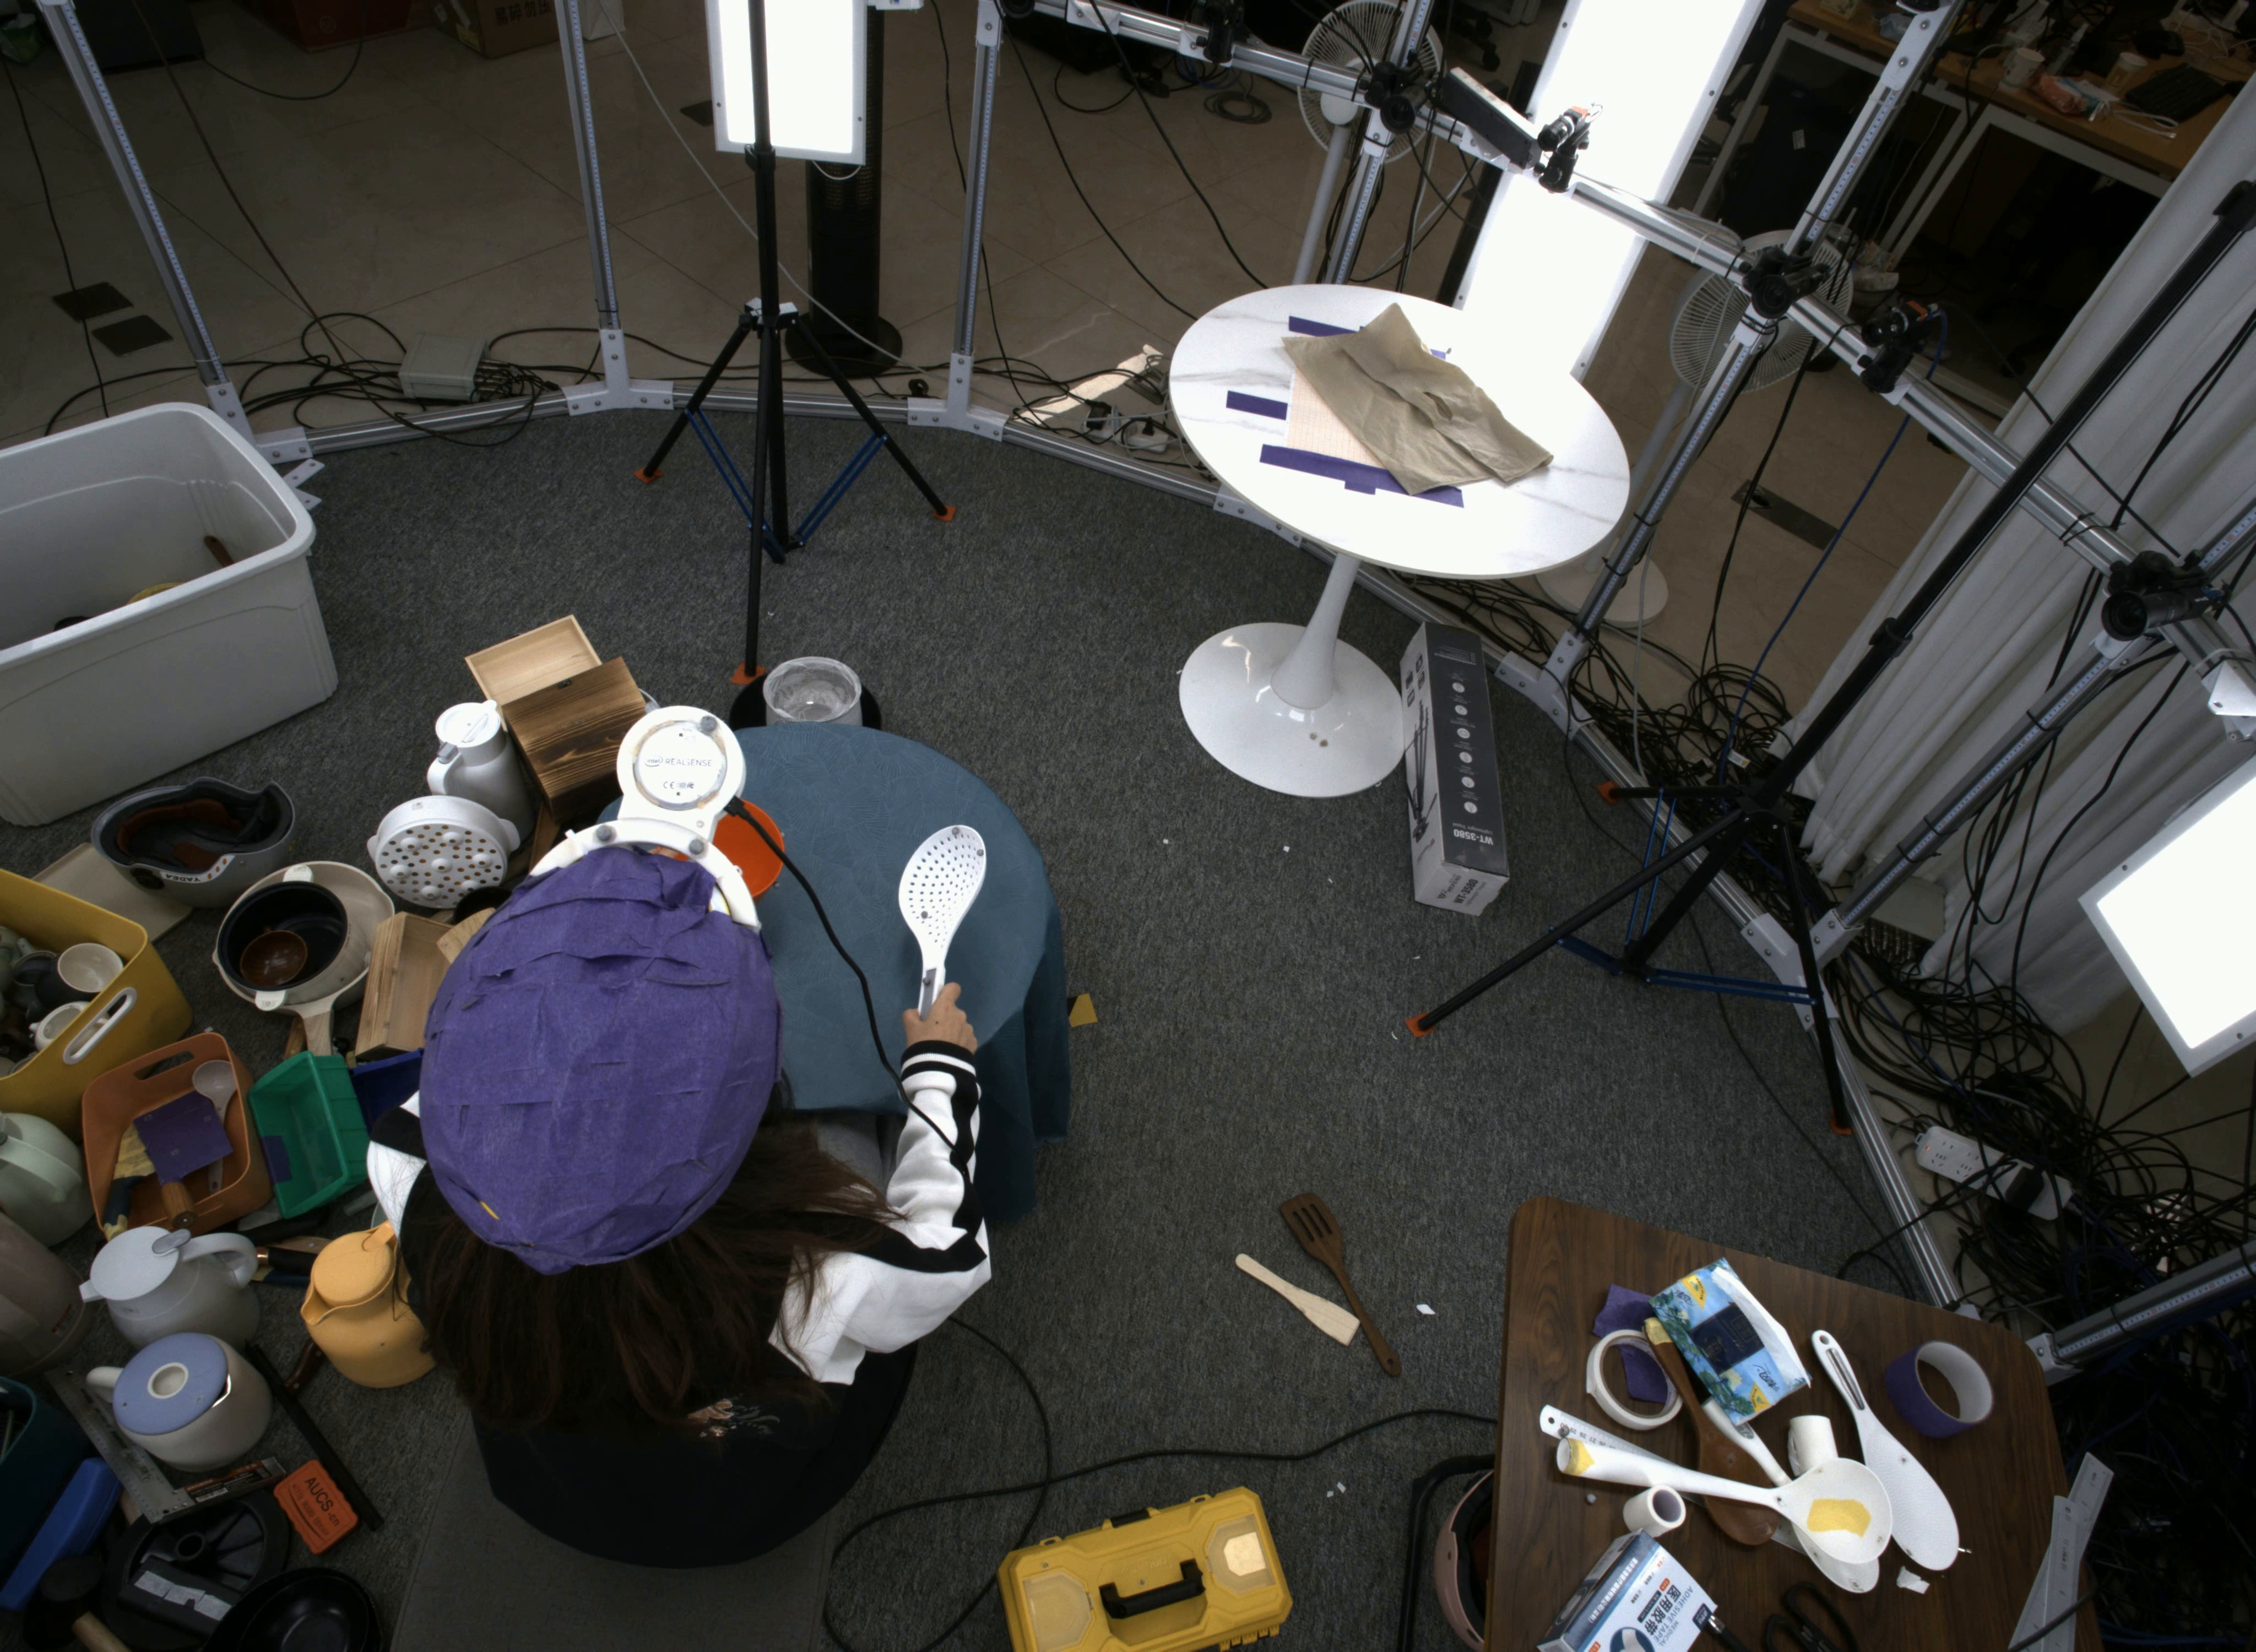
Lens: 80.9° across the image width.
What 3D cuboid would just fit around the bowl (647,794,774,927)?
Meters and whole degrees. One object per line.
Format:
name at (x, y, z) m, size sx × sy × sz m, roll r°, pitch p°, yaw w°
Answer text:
bowl at (-0.504, 0.051, 1.547) m, size 0.149 × 0.106 × 0.145 m, roll 16°, pitch 45°, yaw -15°

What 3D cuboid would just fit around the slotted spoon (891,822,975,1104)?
slotted spoon at (-0.235, 0.152, 1.522) m, size 0.047 × 0.133 × 0.344 m, roll 40°, pitch 42°, yaw -42°
